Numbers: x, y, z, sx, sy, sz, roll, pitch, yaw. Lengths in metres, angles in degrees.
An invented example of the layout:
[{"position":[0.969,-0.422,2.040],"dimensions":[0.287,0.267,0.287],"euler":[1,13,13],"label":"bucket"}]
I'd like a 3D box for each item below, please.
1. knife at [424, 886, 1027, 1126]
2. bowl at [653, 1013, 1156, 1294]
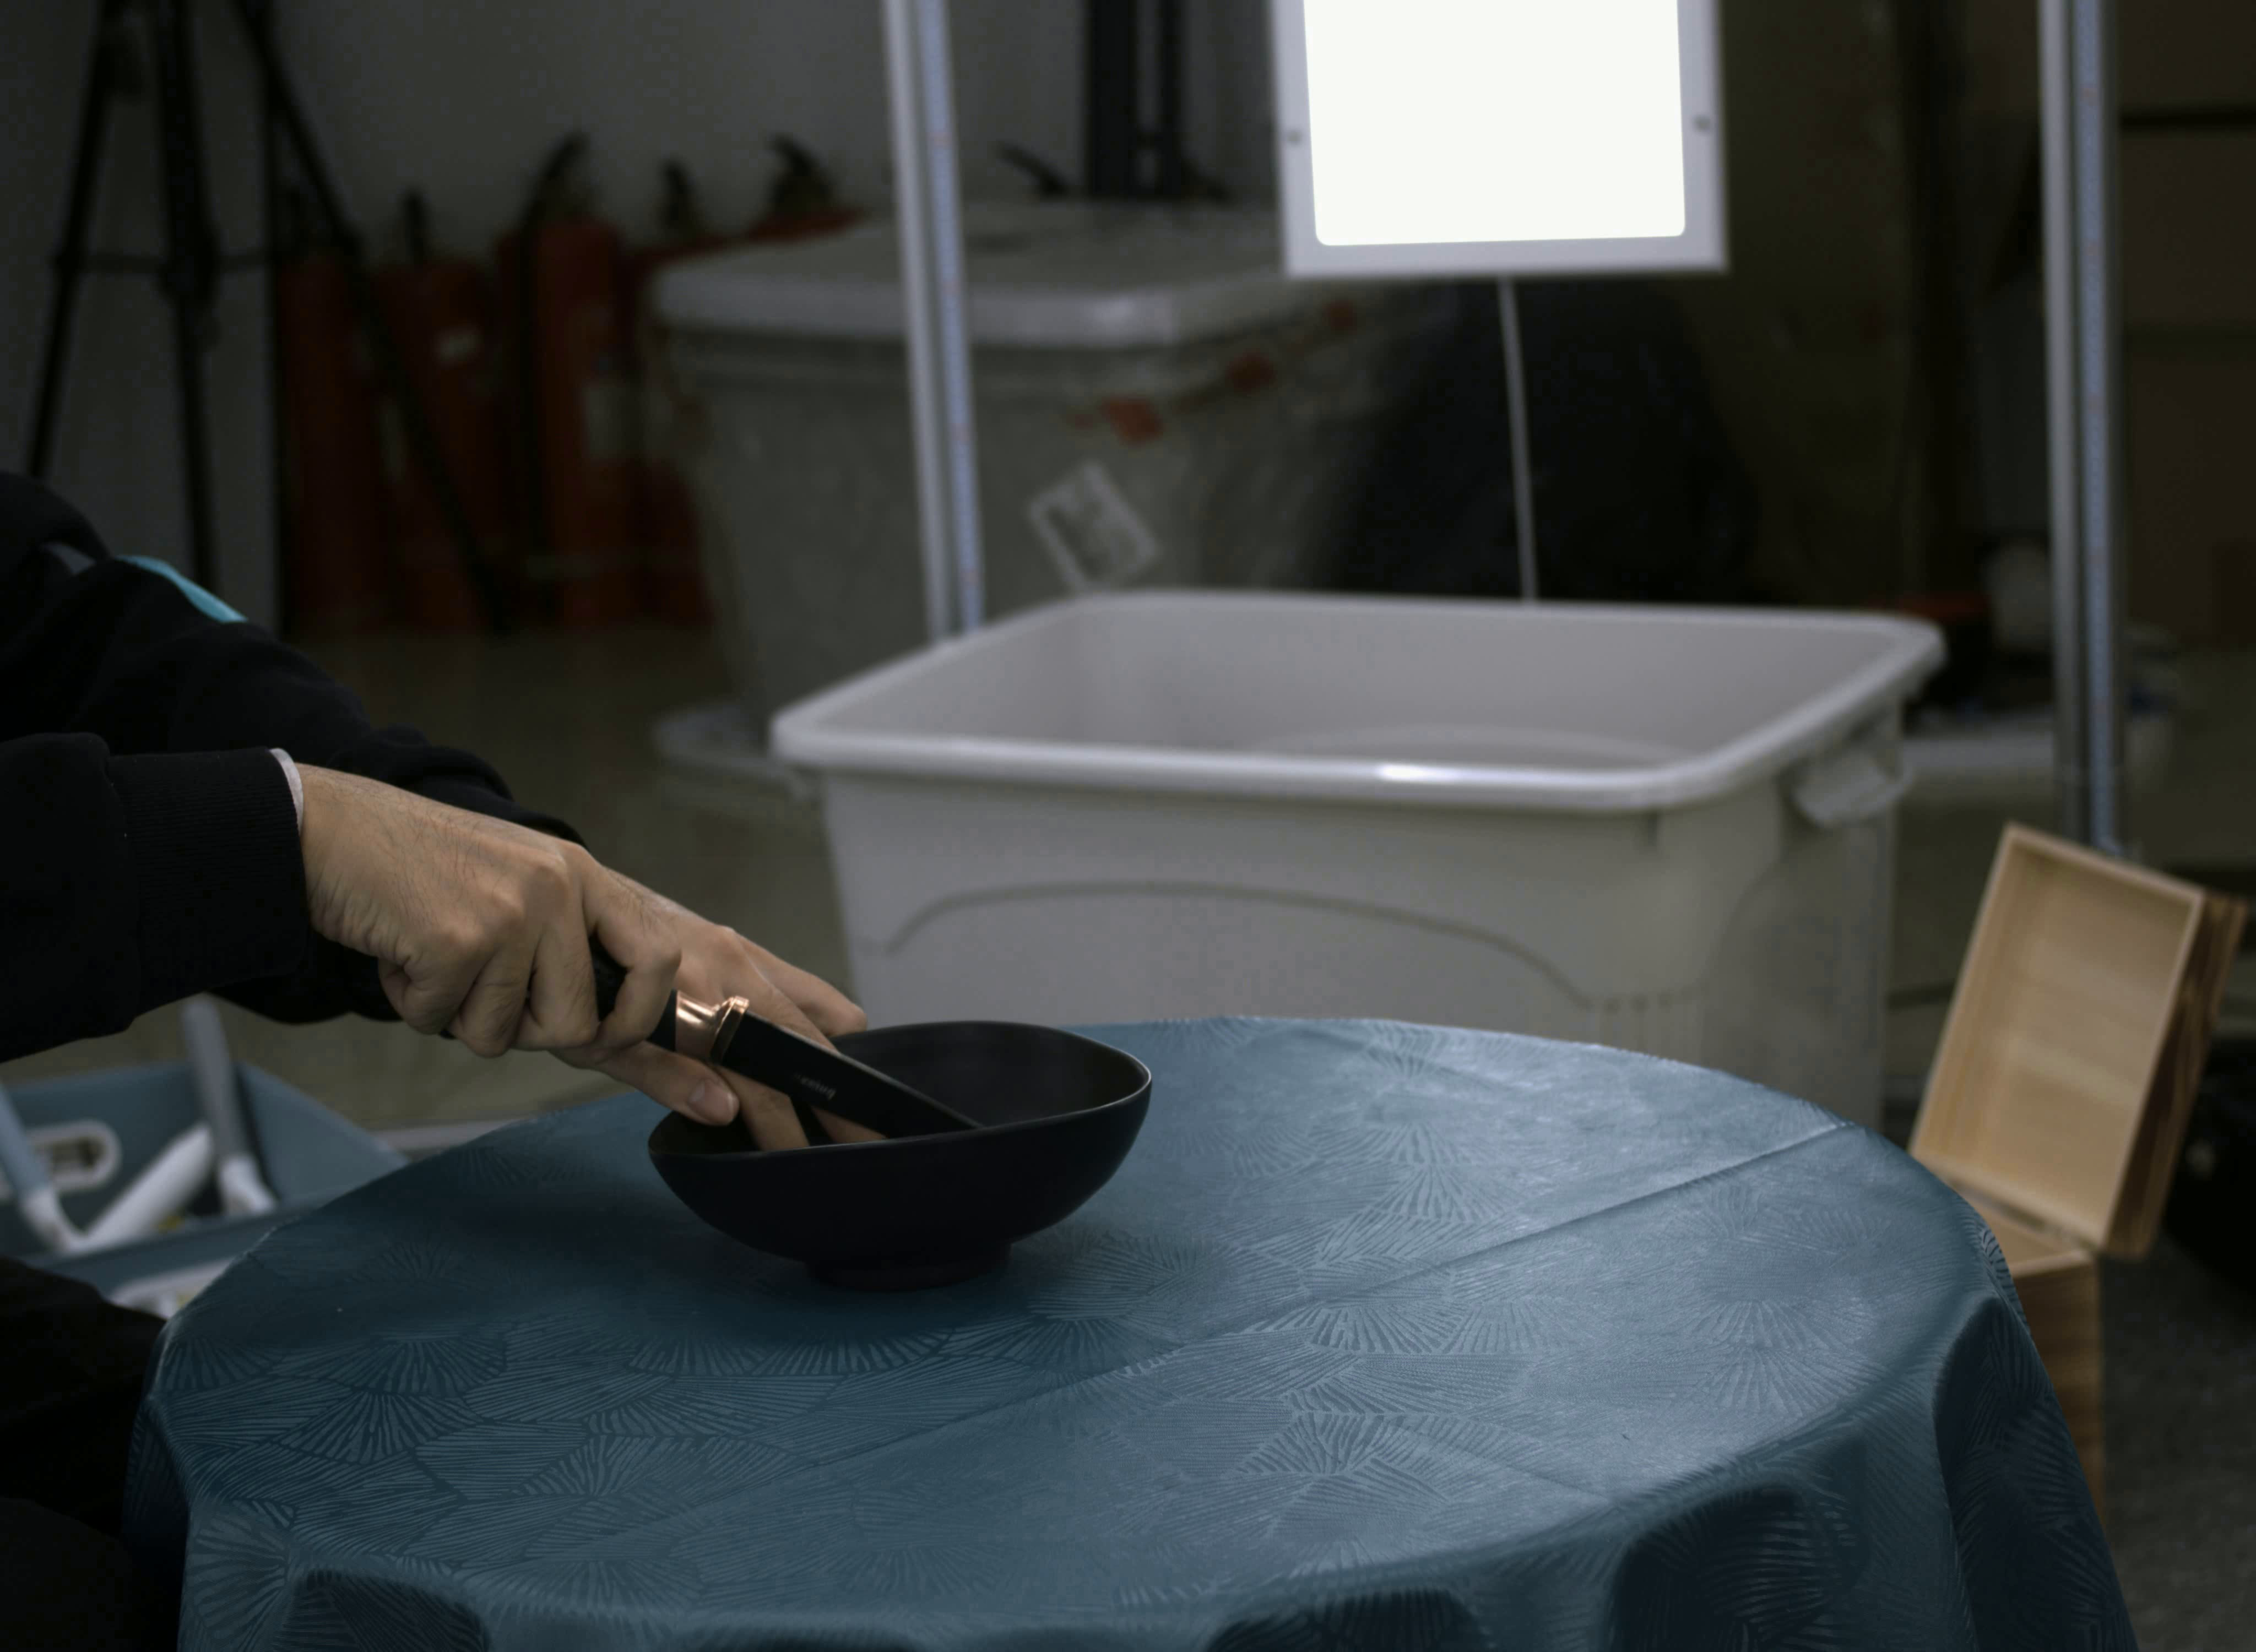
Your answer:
[{"position":[-0.128,0.068,1.845],"dimensions":[0.224,0.026,0.017],"euler":[22,24,-5],"label":"knife"},{"position":[-0.072,0.115,1.836],"dimensions":[0.170,0.067,0.137],"euler":[-8,14,-1],"label":"bowl"}]
